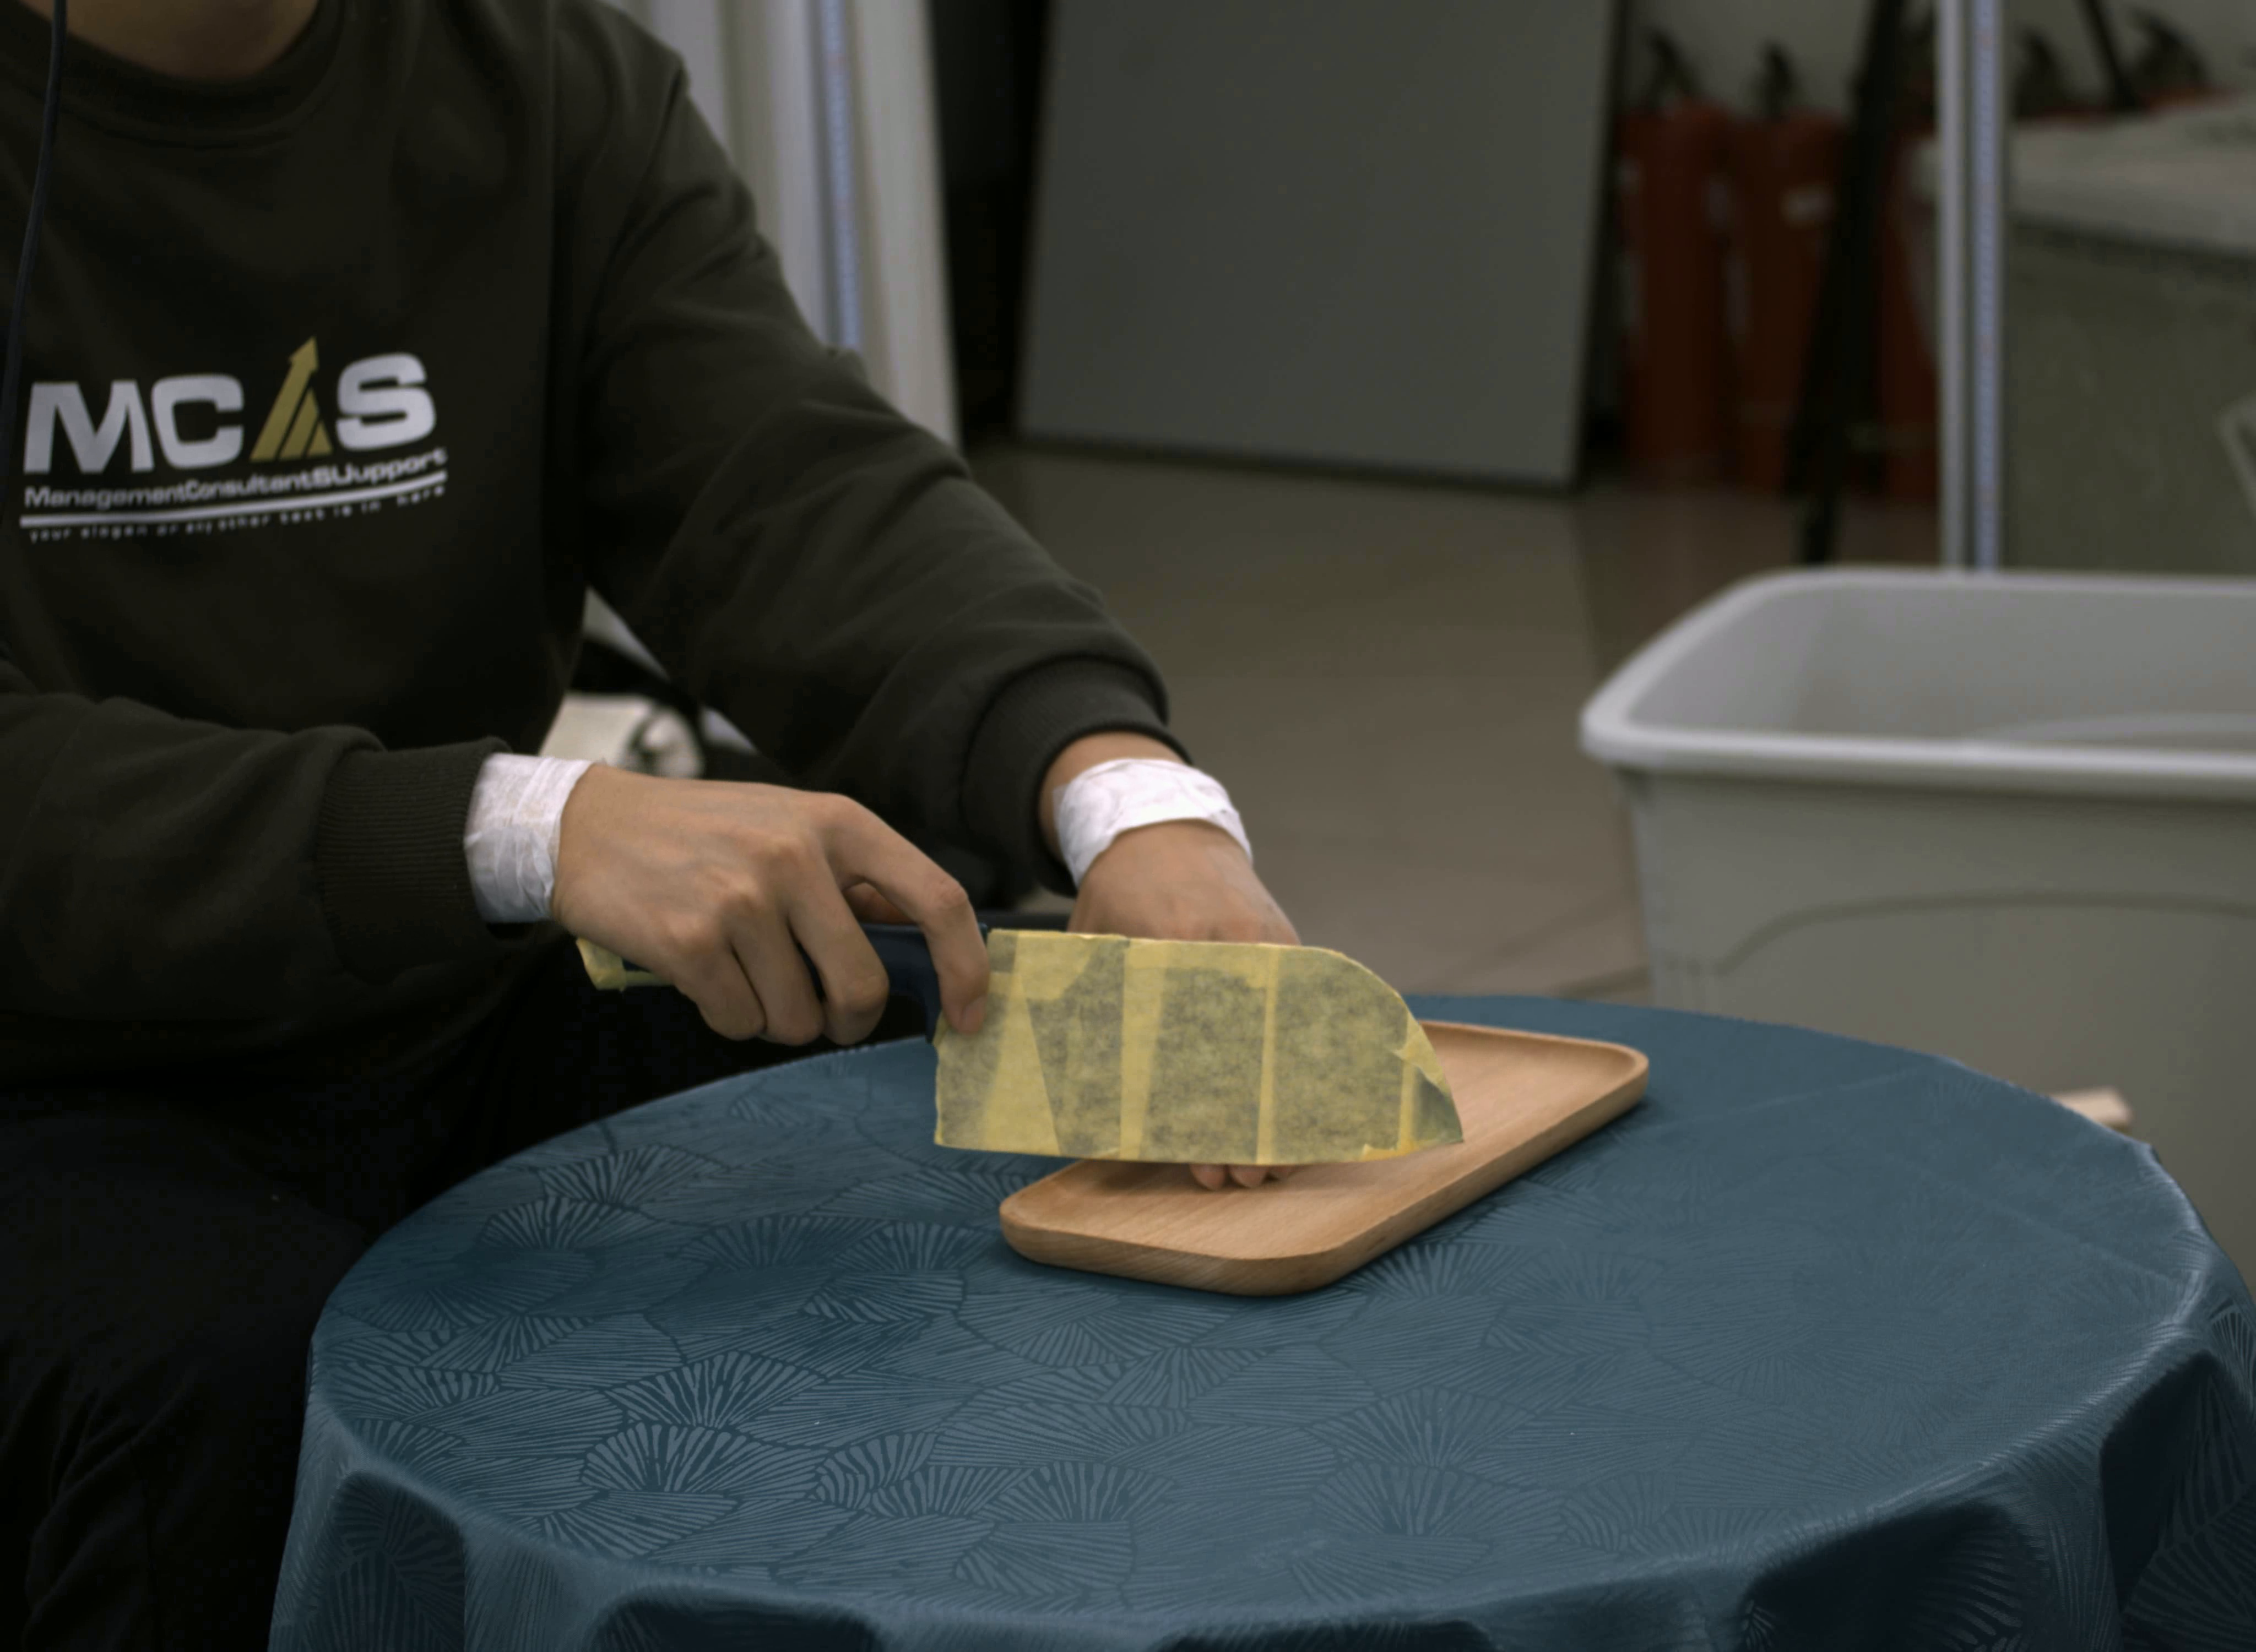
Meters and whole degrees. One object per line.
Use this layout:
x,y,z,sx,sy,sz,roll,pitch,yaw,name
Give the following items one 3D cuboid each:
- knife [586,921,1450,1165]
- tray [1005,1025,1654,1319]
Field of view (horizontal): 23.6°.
-0.037,0.068,1.749,0.287,0.082,0.027,5,-4,9,knife
0.070,0.111,1.774,0.131,0.023,0.246,2,17,35,tray
